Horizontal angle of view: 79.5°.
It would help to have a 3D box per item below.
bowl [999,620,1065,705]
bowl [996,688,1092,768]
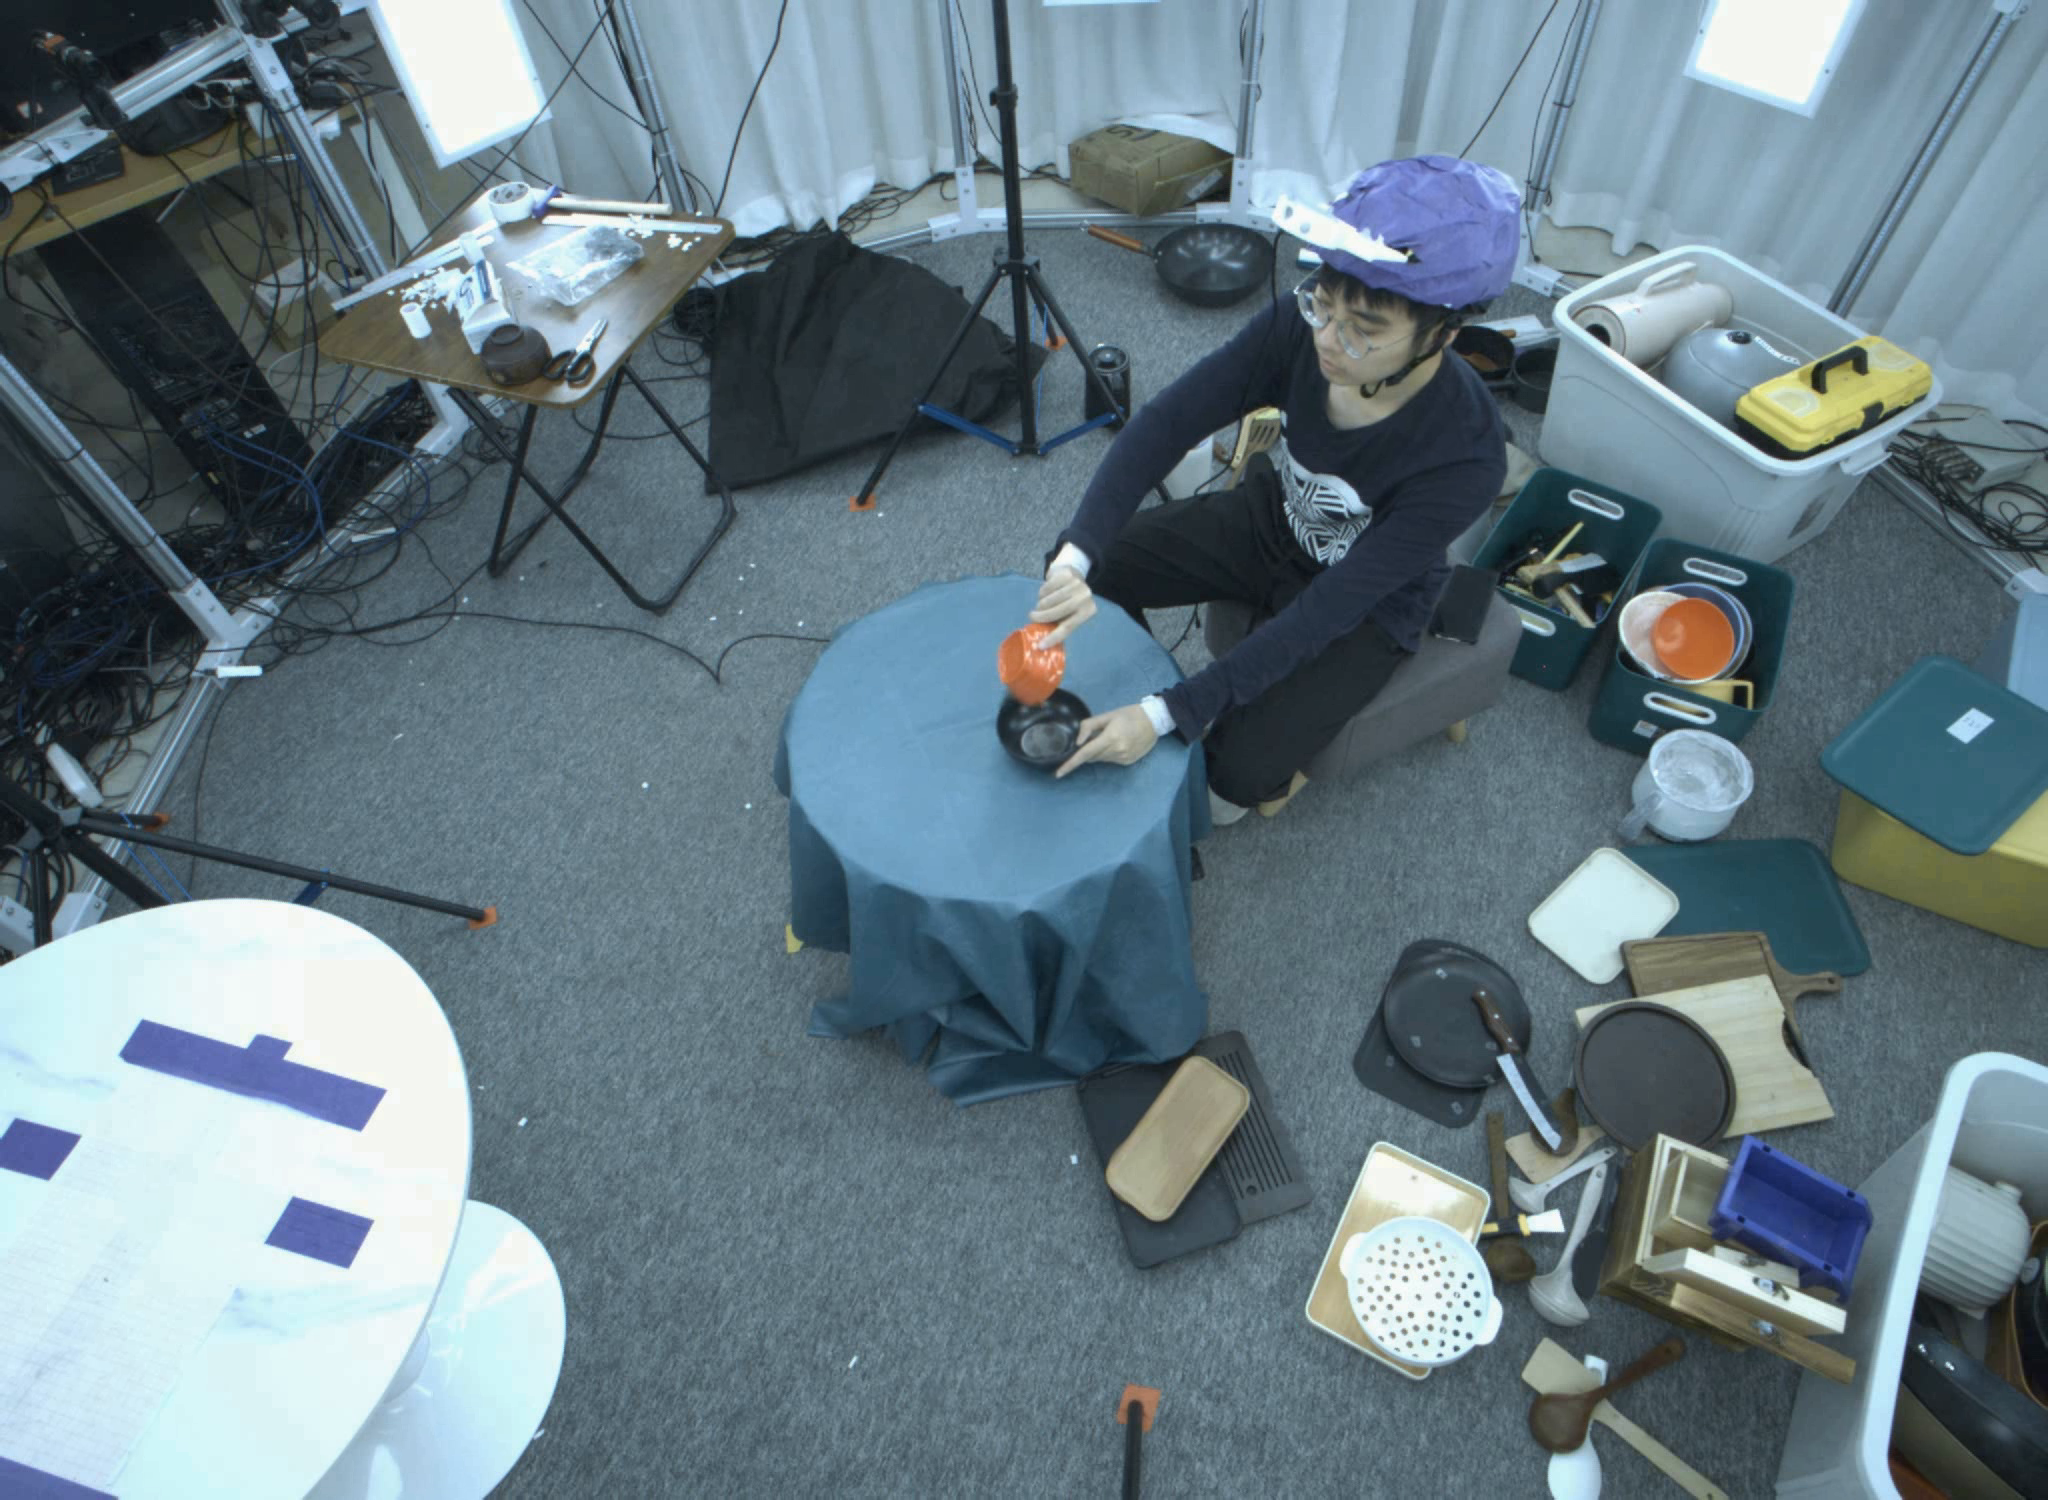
[{"bbox_3d":[0.004,-0.122,1.655,0.052,0.118,0.117,11,49,-29],"label":"bowl"},{"bbox_3d":[0.028,-0.024,1.784,0.140,0.050,0.138,3,52,-2],"label":"bowl"}]
